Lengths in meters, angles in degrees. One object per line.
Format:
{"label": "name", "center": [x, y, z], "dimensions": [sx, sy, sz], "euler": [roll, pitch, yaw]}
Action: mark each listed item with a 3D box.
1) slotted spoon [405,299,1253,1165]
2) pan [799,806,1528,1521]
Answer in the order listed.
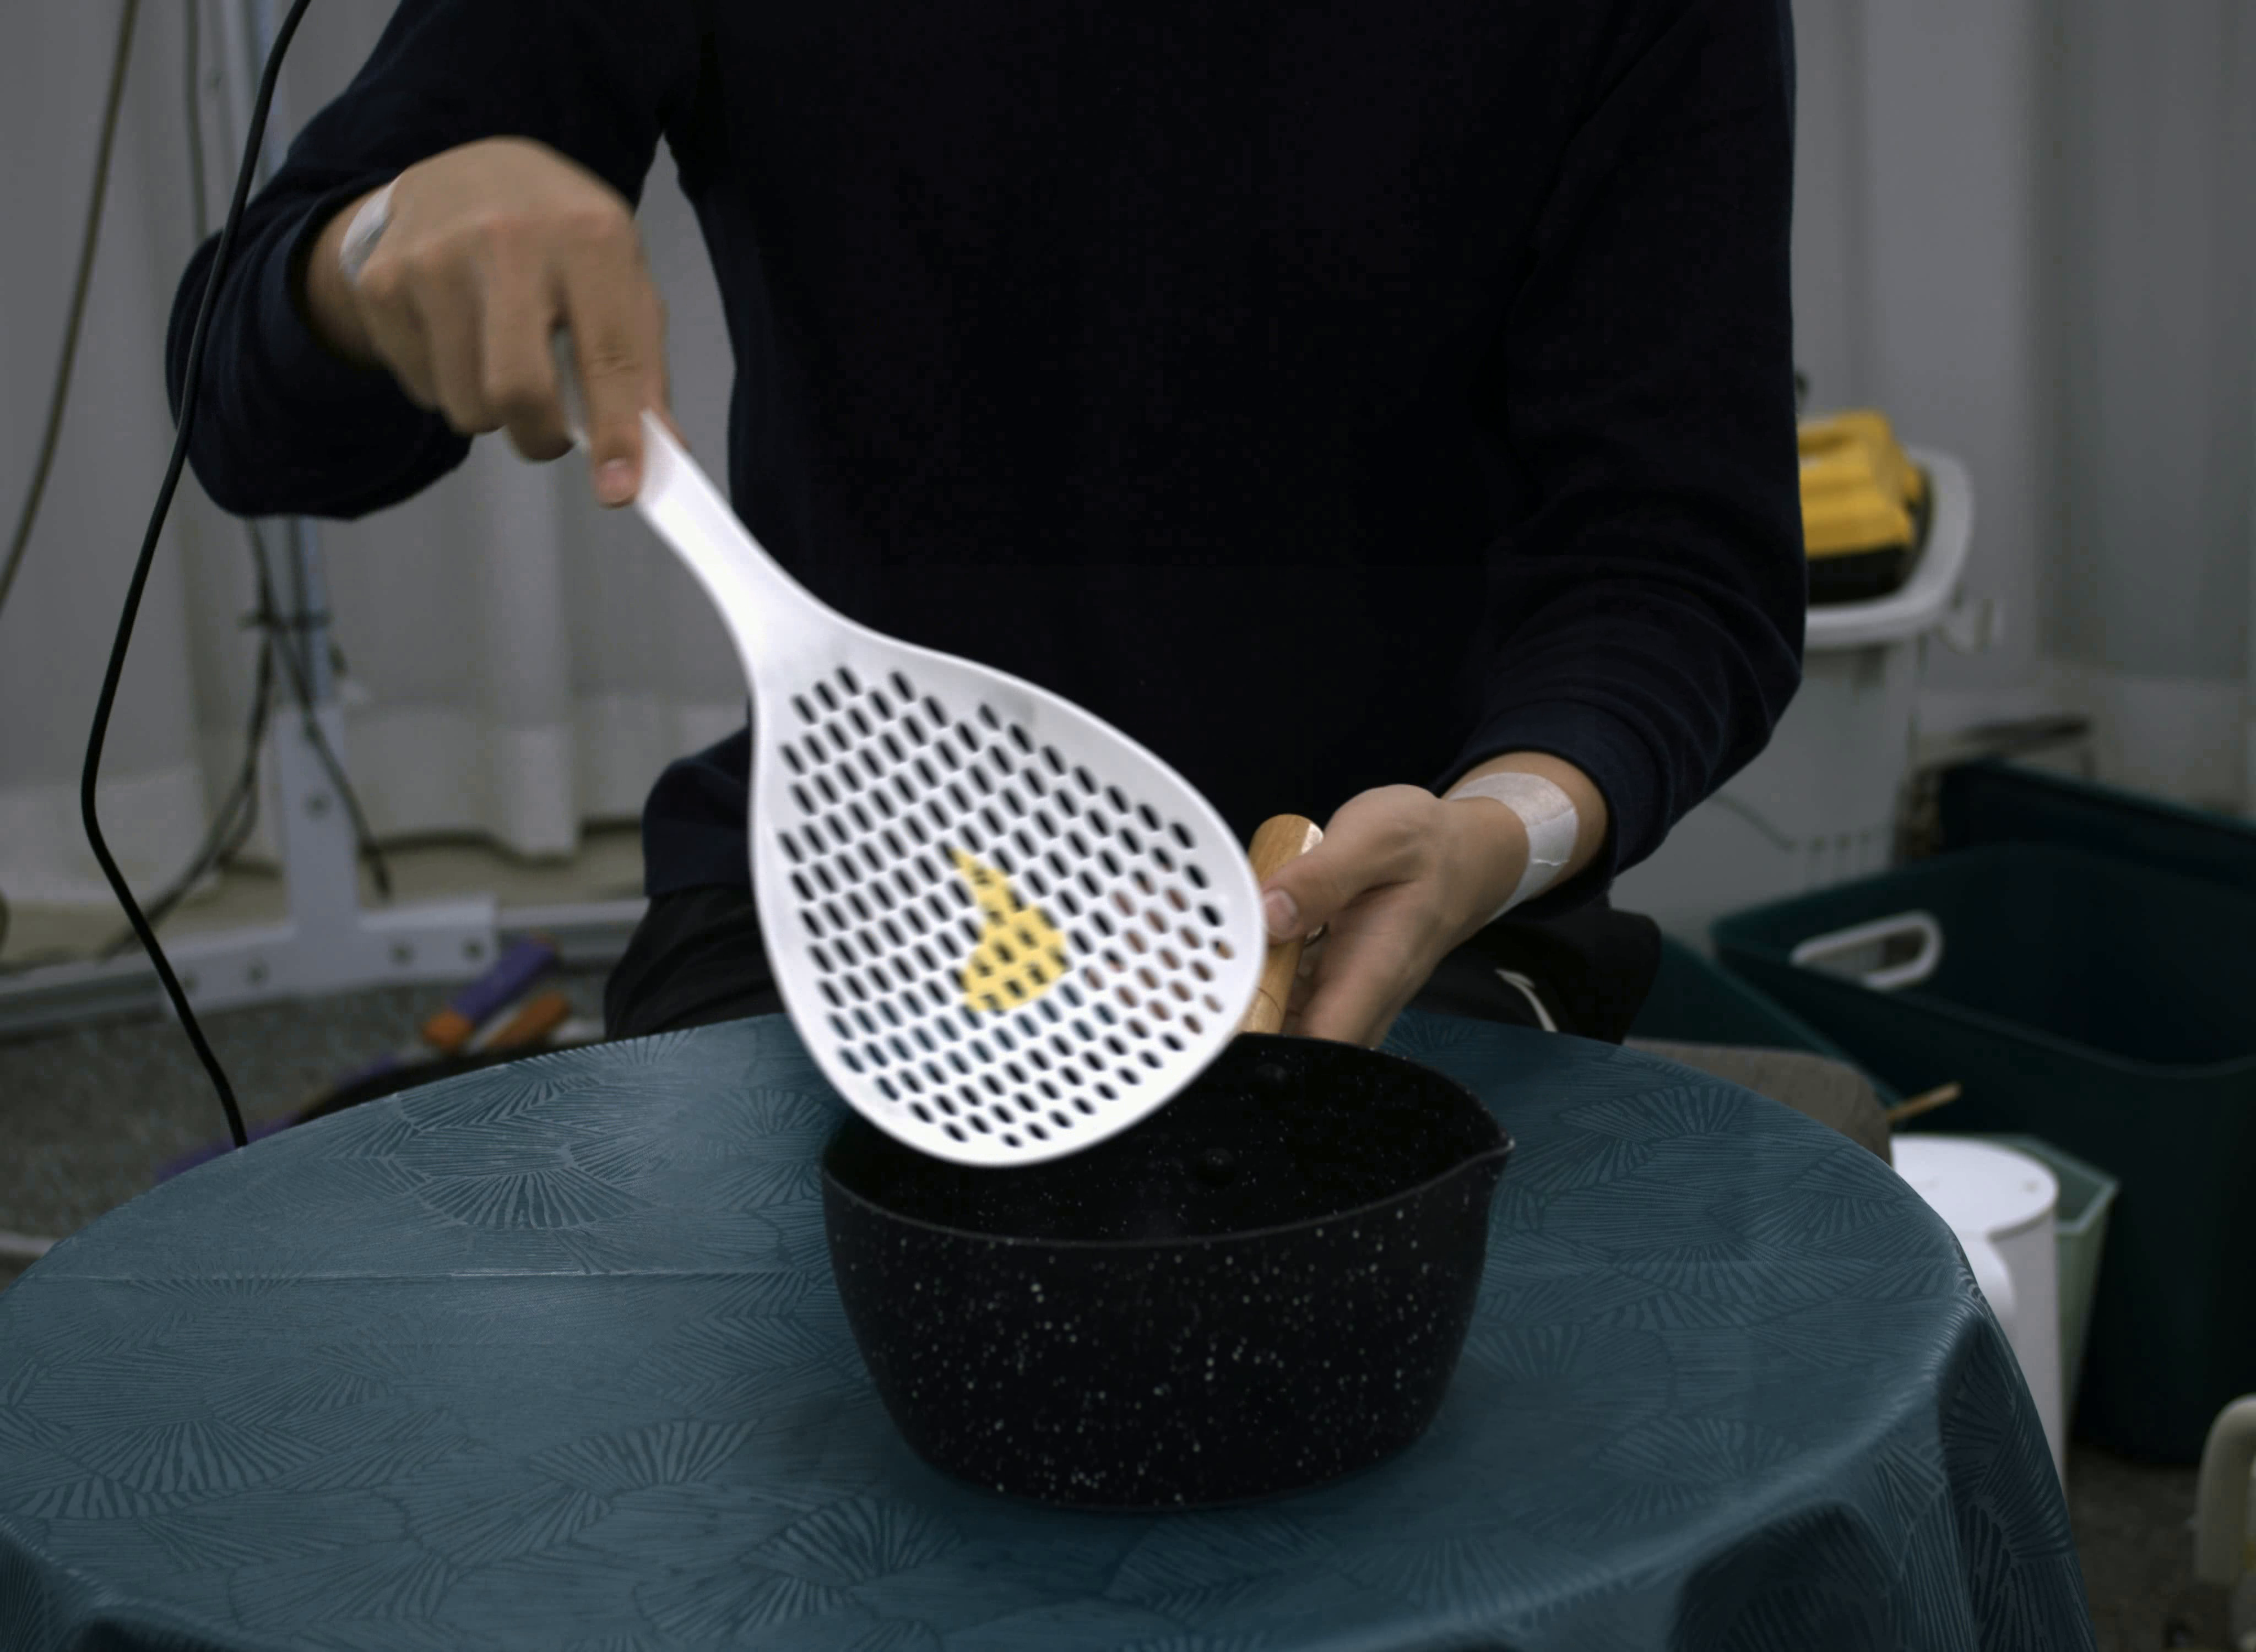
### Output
{"label": "slotted spoon", "center": [-0.102, -0.043, 1.588], "dimensions": [0.137, 0.351, 0.050], "euler": [-36, -19, -13]}
{"label": "pan", "center": [0.022, 0.092, 1.588], "dimensions": [0.207, 0.108, 0.345], "euler": [-1, 16, 10]}
